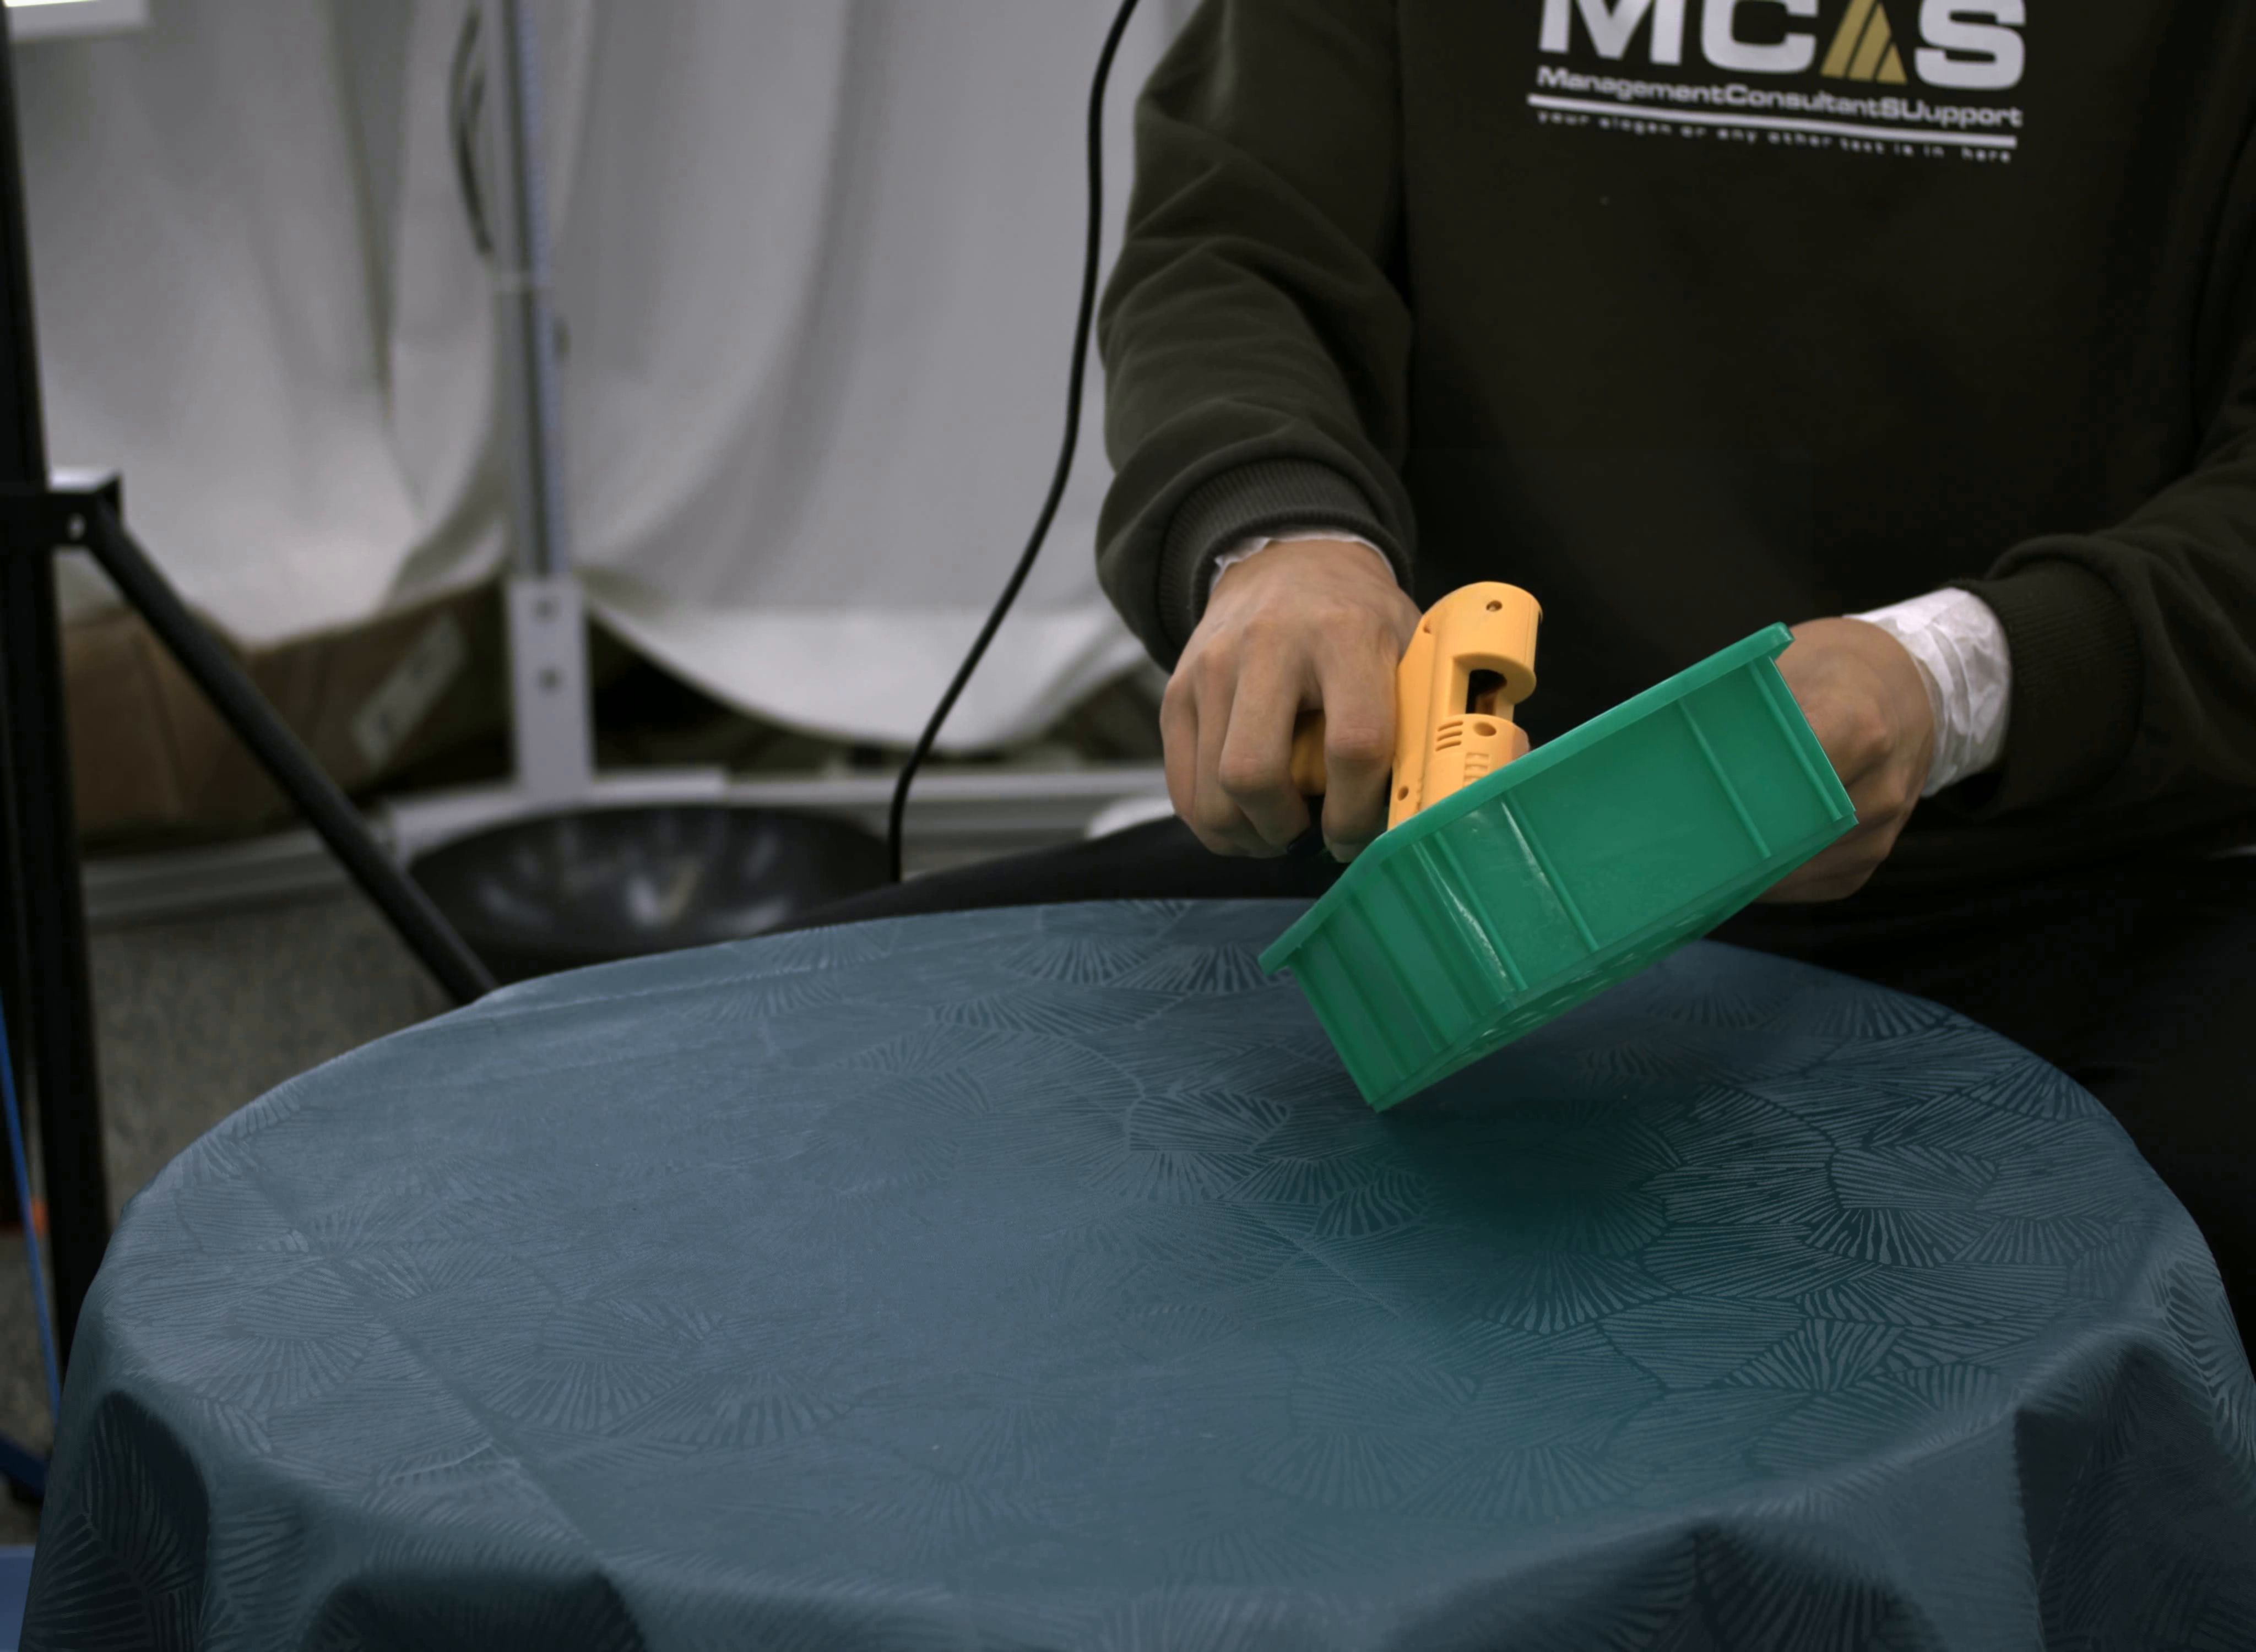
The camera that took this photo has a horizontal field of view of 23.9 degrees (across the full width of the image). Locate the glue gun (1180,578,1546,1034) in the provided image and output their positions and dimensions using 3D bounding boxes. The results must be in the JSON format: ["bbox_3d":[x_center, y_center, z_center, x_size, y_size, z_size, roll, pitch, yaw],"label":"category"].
[{"bbox_3d":[0.067,0.011,1.573,0.135,0.153,0.030,-25,-44,35],"label":"glue gun"}]

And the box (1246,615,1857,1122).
[{"bbox_3d":[0.124,0.019,1.548,0.137,0.066,0.211,-25,-9,-15],"label":"box"}]
